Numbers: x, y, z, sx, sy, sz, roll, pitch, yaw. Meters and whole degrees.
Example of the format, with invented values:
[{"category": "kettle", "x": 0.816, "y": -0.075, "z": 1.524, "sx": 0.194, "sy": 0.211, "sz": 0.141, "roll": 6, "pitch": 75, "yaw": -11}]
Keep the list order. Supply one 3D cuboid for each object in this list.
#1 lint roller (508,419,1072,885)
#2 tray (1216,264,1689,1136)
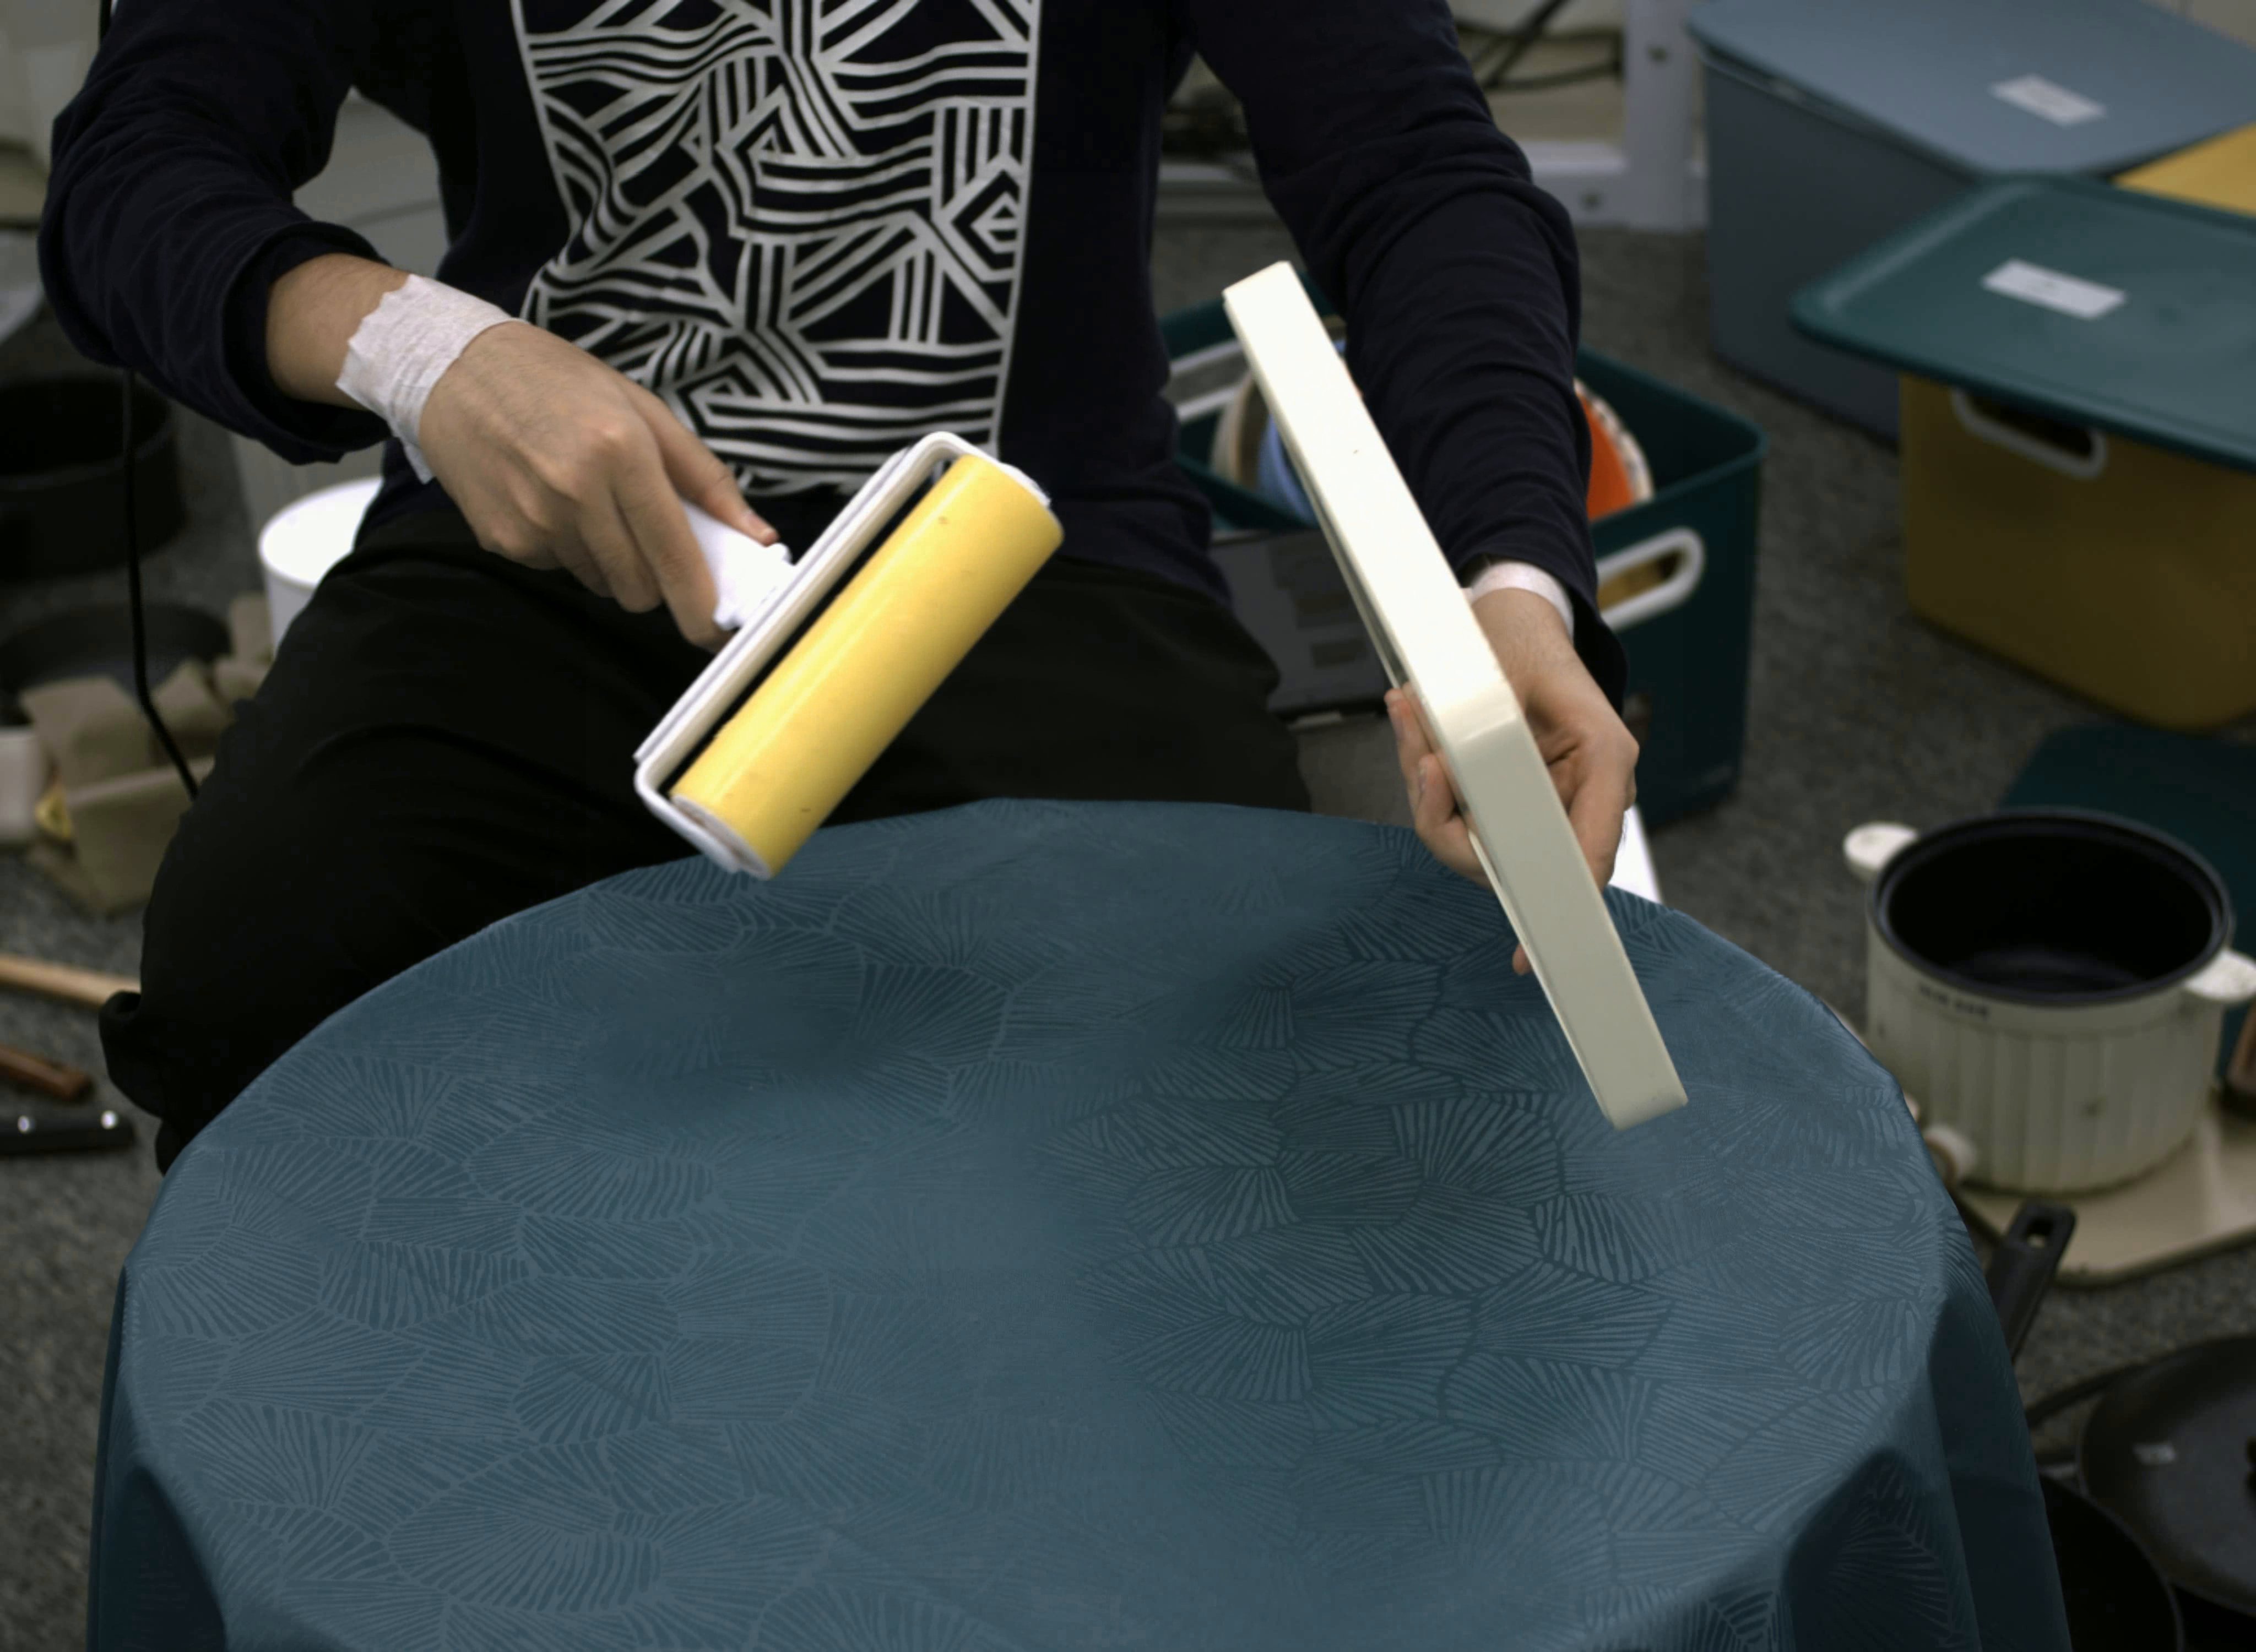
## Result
[{"category": "lint roller", "x": -0.143, "y": -0.094, "z": 1.979, "sx": 0.192, "sy": 0.051, "sz": 0.176, "roll": 34, "pitch": 72, "yaw": 14}, {"category": "tray", "x": 0.104, "y": -0.046, "z": 1.870, "sx": 0.027, "sy": 0.189, "sz": 0.304, "roll": -25, "pitch": 34, "yaw": 2}]
